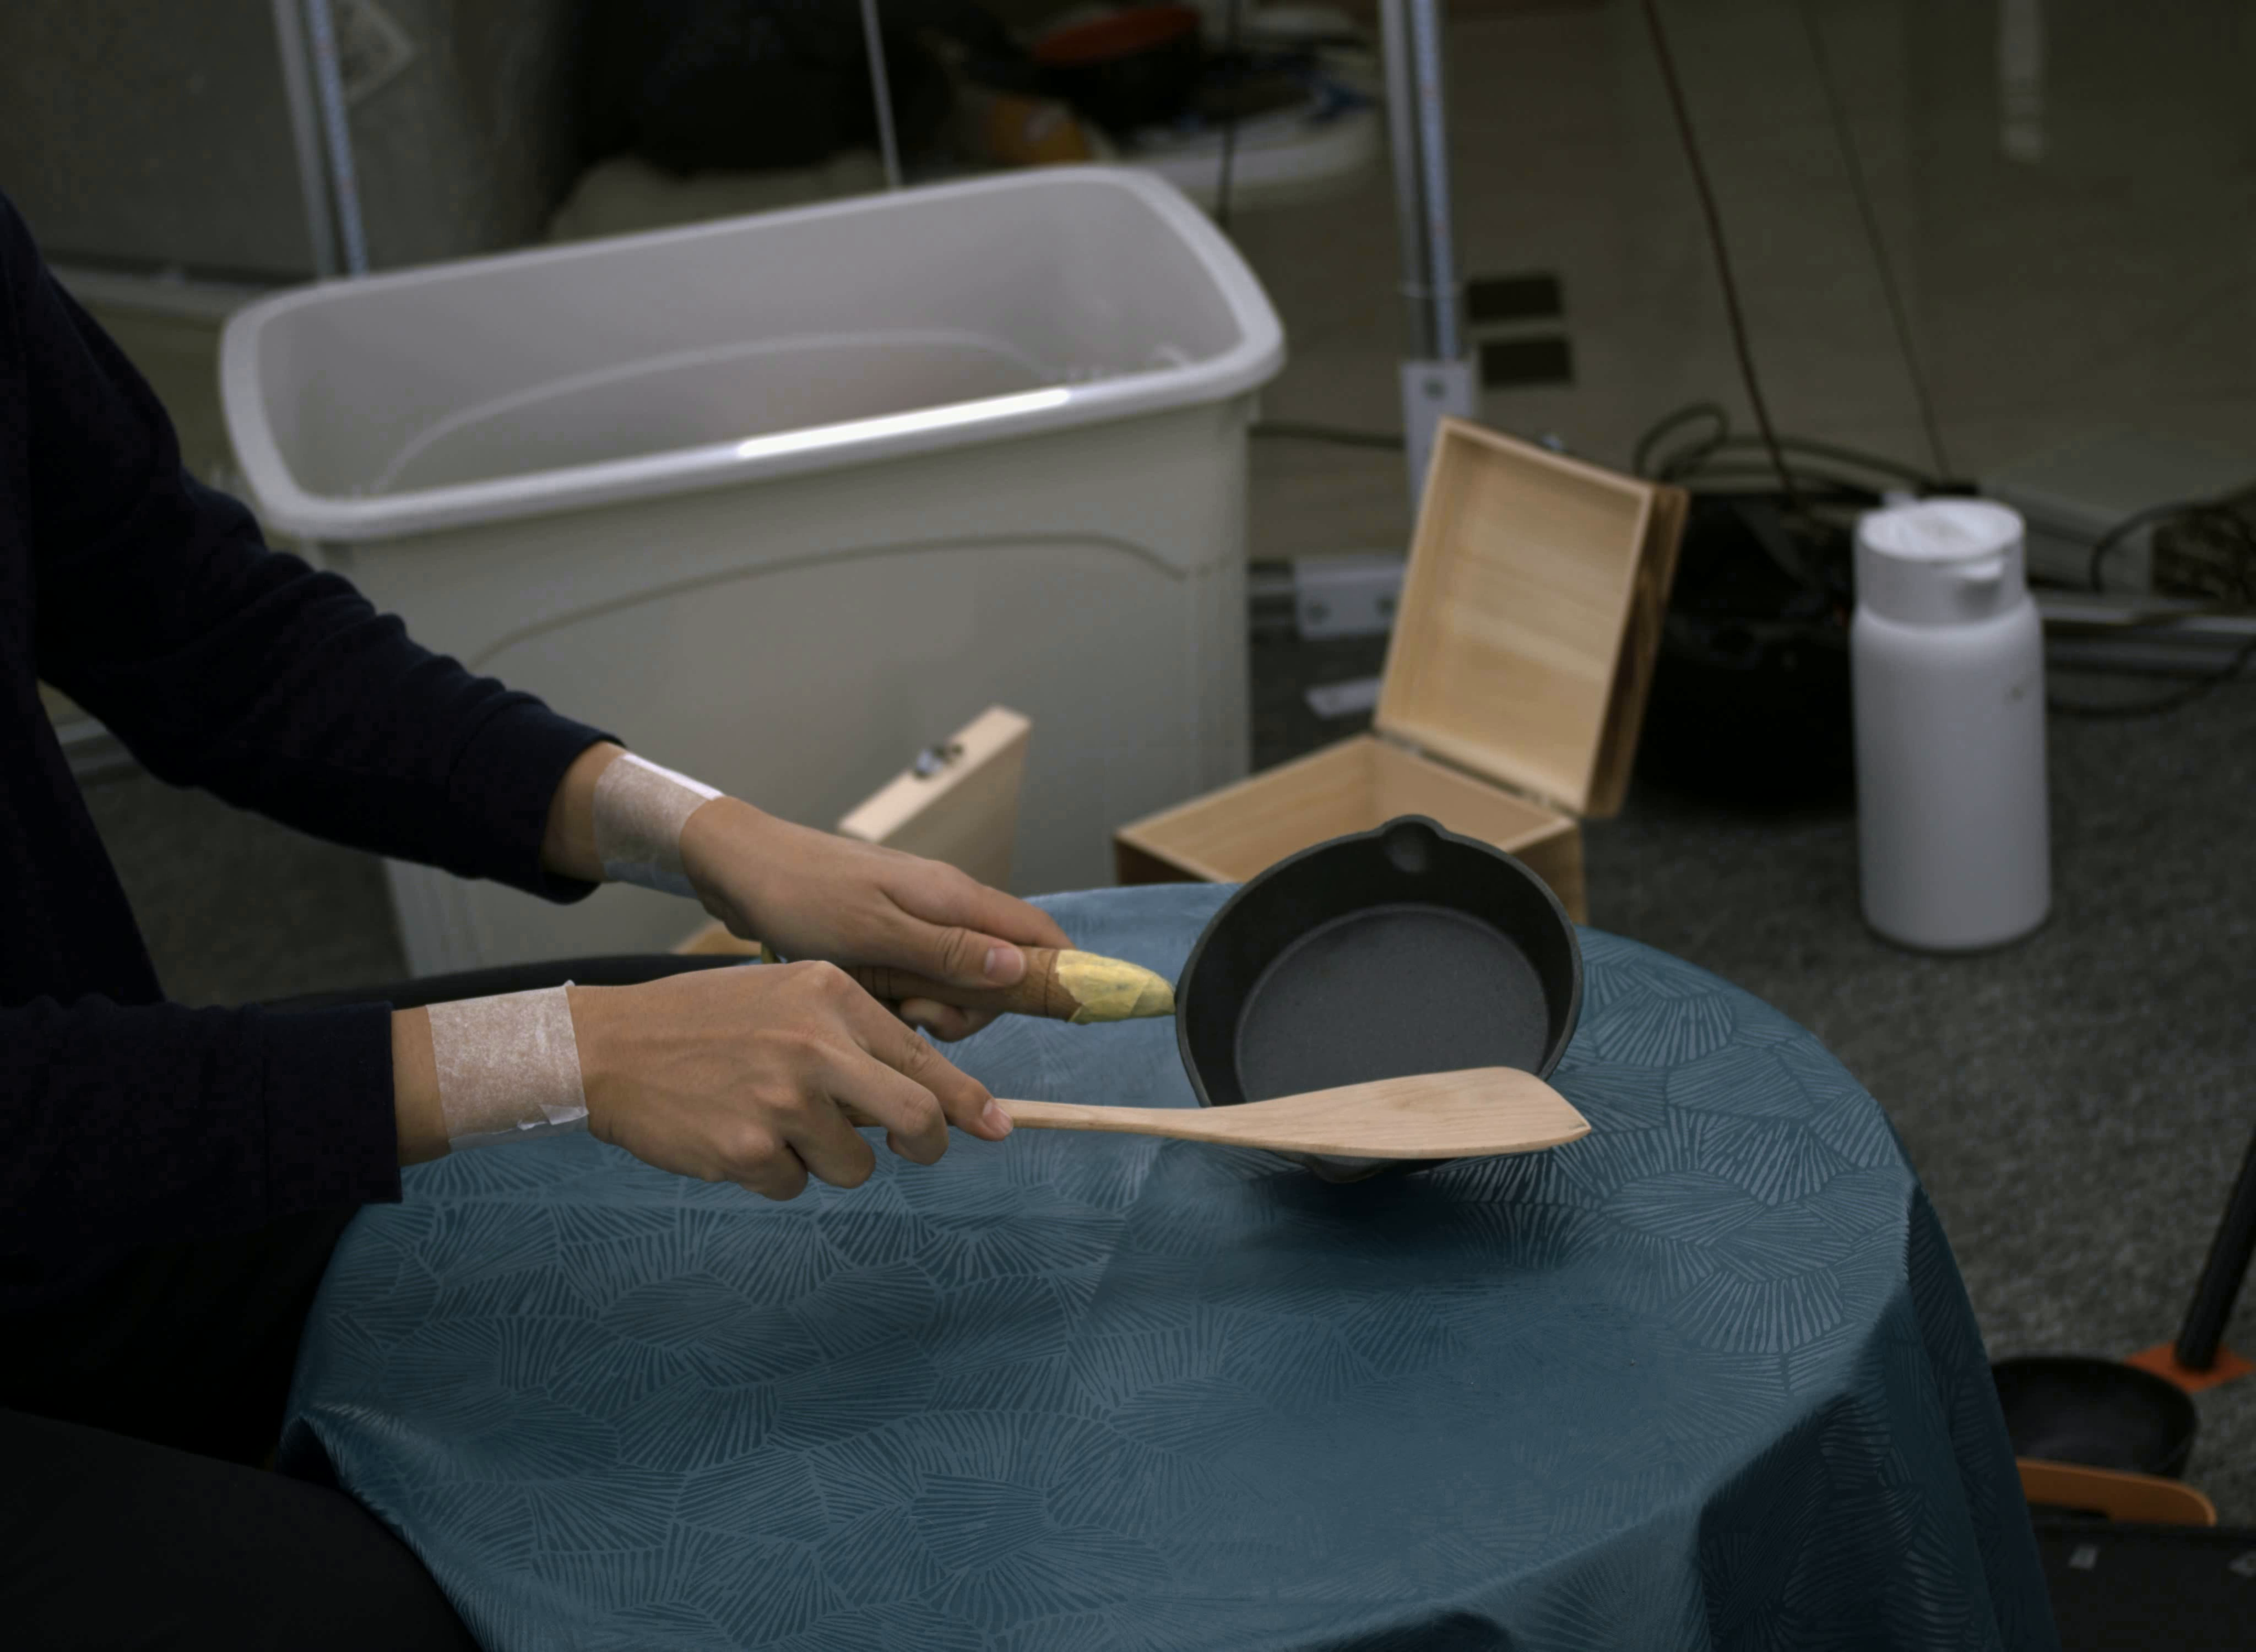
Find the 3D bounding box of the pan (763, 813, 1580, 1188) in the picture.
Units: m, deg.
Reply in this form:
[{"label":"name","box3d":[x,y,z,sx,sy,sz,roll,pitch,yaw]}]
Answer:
[{"label":"pan","box3d":[0.016,0.063,2.180,0.323,0.050,0.166,5,57,17]}]

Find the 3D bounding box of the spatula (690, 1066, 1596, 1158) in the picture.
[{"label":"spatula","box3d":[0.004,0.103,2.068,0.327,0.017,0.079,1,17,-9]}]
